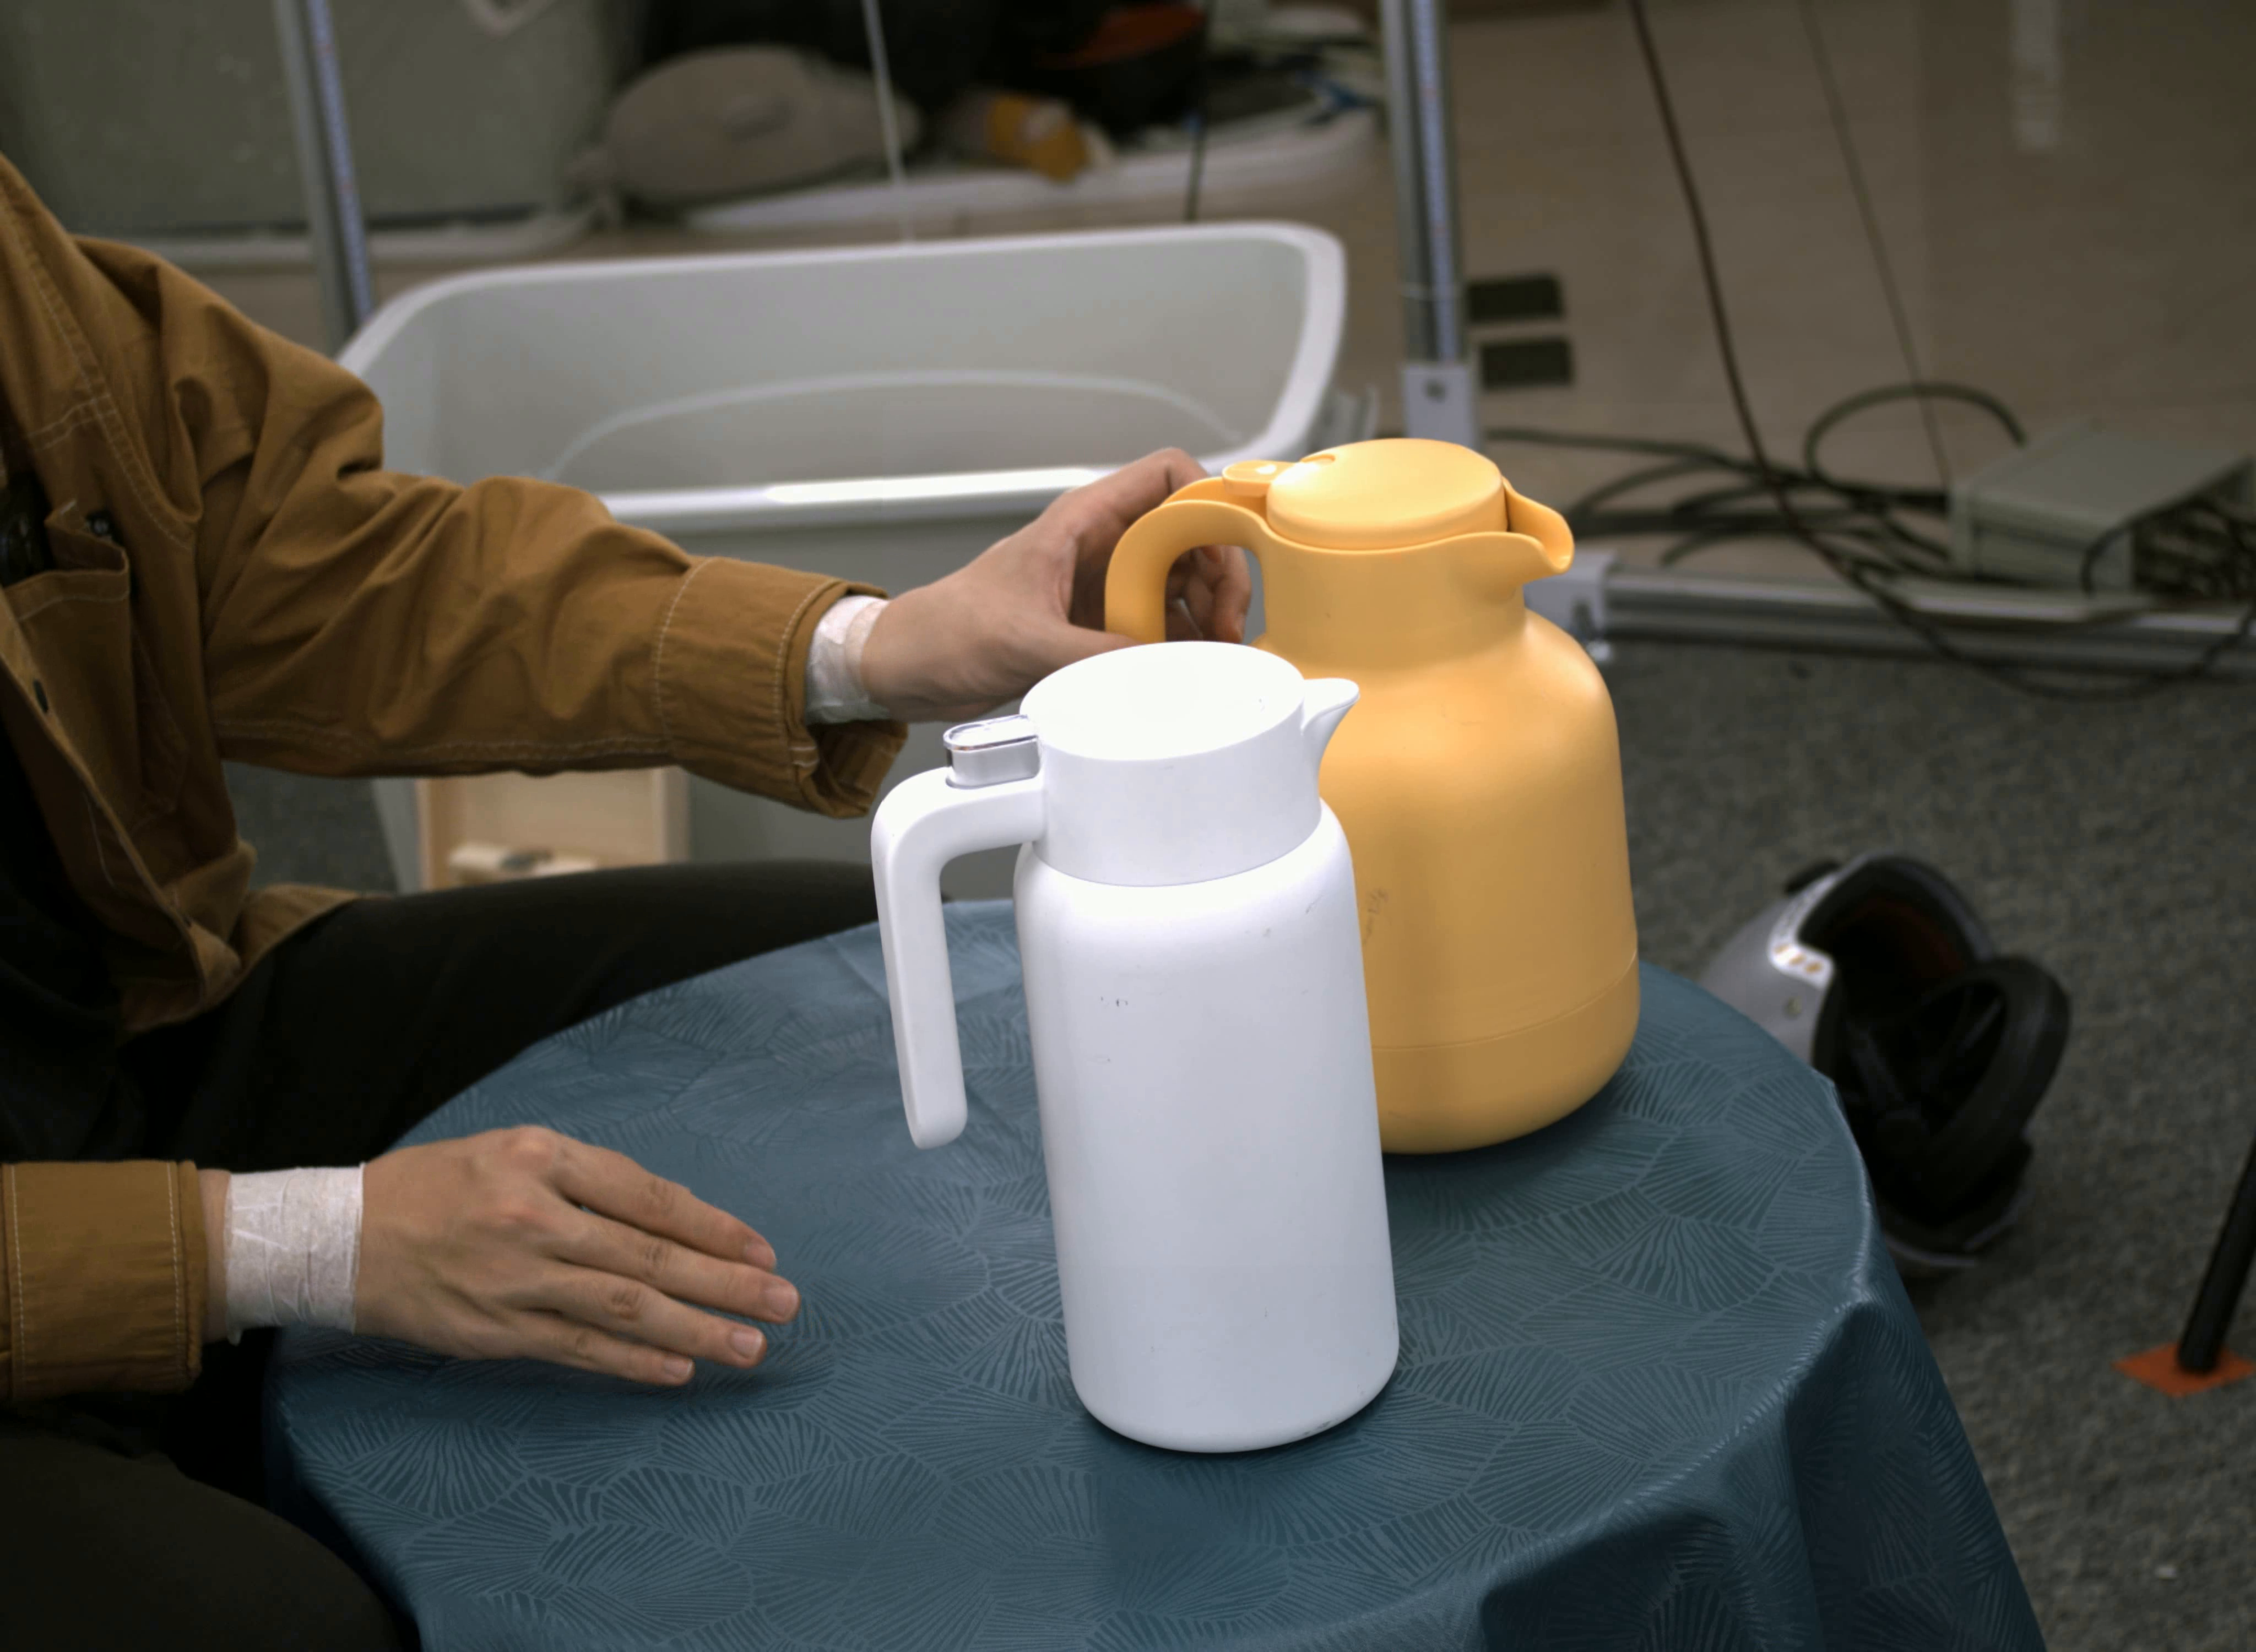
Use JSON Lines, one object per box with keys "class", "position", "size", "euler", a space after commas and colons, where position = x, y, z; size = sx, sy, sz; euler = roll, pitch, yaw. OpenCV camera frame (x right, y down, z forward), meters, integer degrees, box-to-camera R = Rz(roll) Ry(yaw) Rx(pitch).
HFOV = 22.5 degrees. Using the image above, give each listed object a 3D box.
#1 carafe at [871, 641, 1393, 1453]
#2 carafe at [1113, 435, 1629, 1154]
{"class": "carafe", "position": [0.007, 0.080, 1.953], "size": [0.172, 0.273, 0.122], "euler": [-11, 28, -10]}
{"class": "carafe", "position": [0.090, -0.020, 2.152], "size": [0.201, 0.264, 0.162], "euler": [12, 28, 30]}
